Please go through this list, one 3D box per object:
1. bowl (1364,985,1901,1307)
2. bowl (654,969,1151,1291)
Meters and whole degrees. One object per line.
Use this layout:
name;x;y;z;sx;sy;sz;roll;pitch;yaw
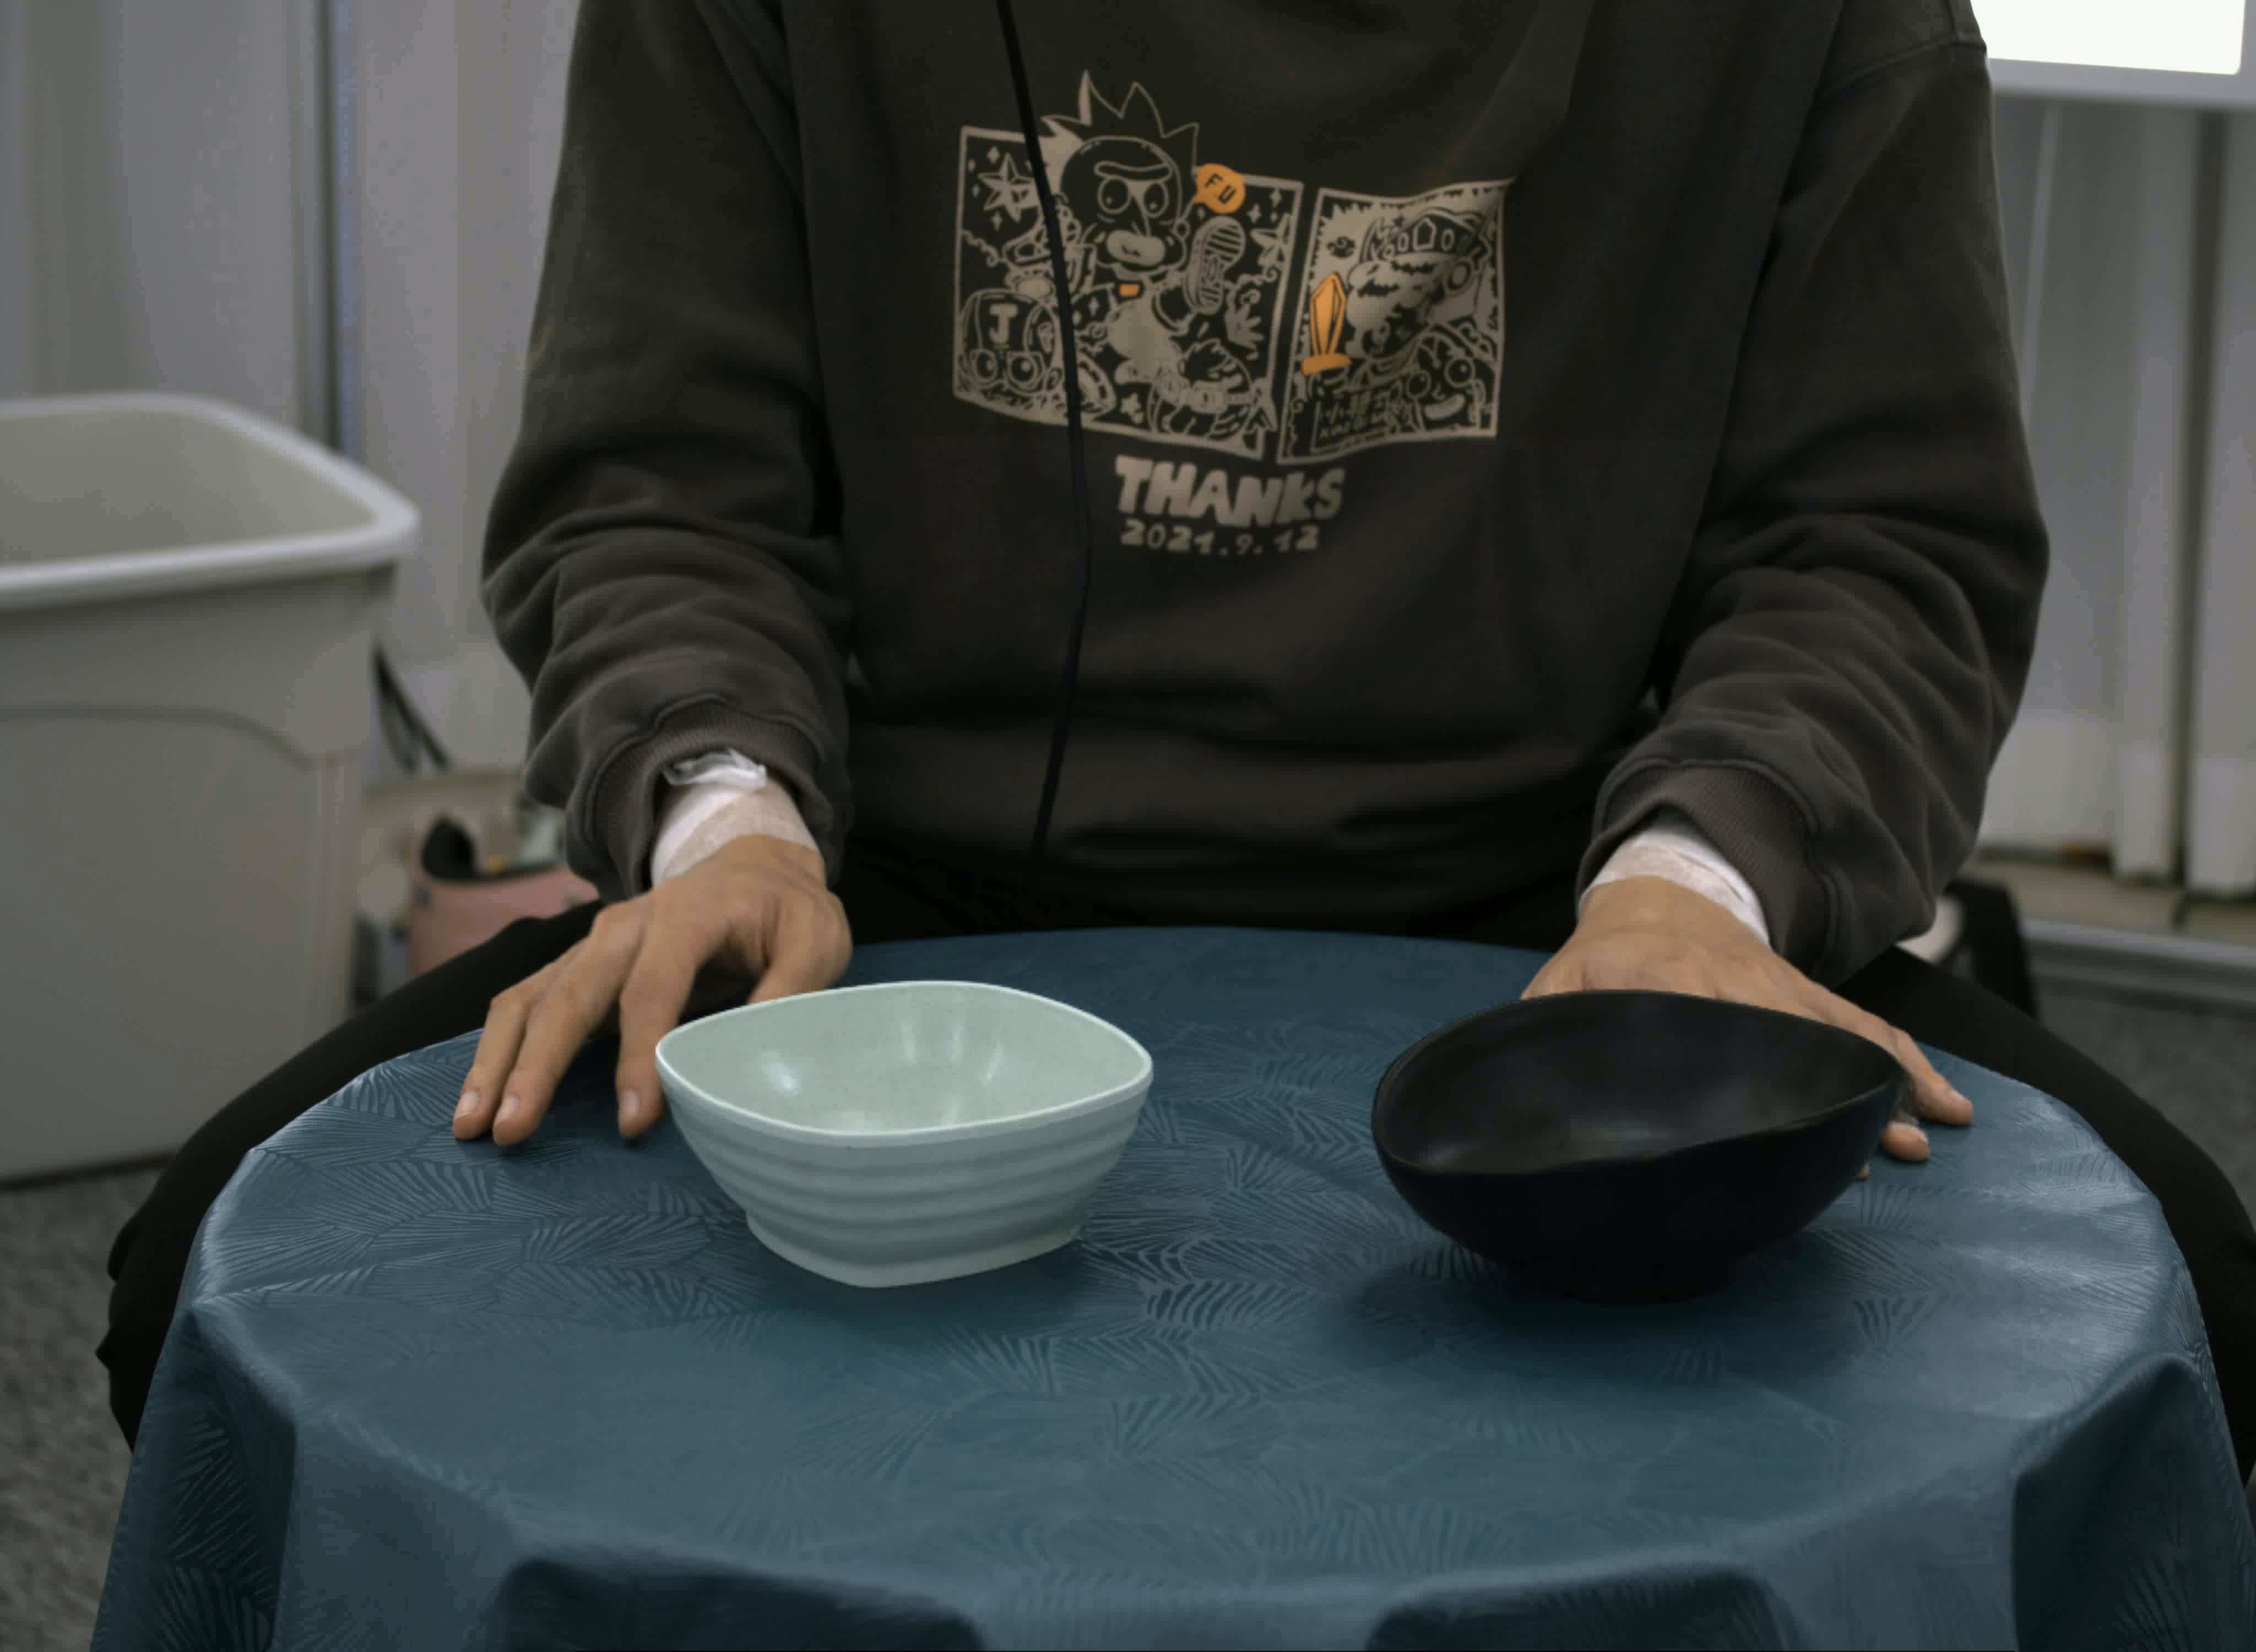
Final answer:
bowl;0.150;0.101;1.560;0.171;0.067;0.135;-12;20;-35
bowl;-0.068;0.095;1.583;0.151;0.059;0.150;1;18;0
